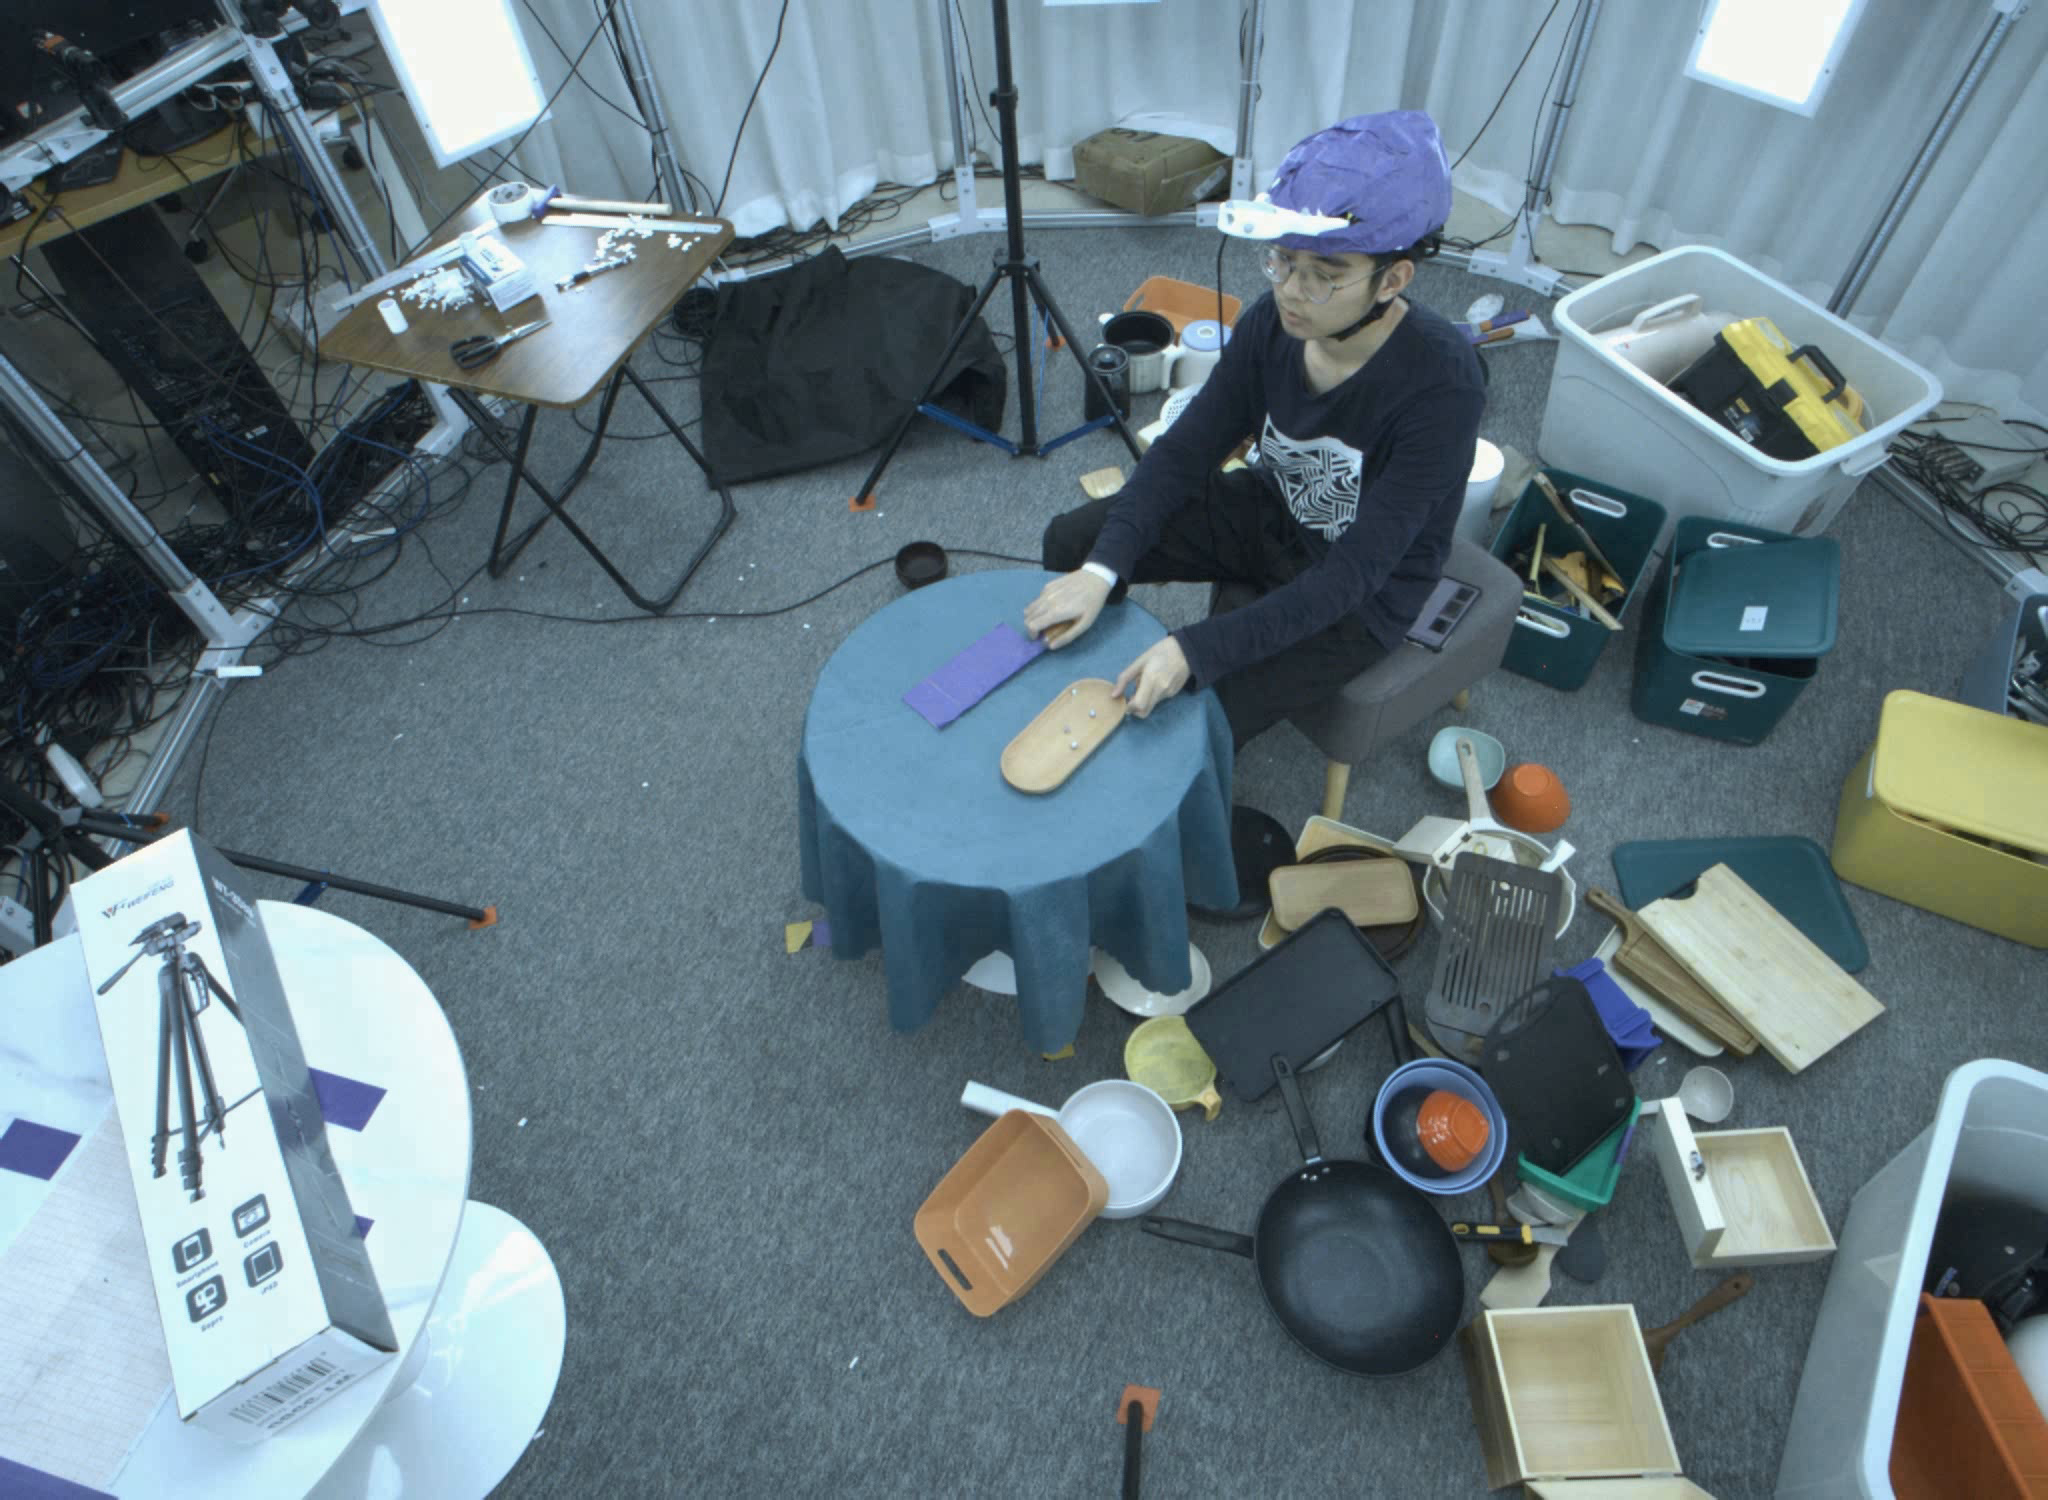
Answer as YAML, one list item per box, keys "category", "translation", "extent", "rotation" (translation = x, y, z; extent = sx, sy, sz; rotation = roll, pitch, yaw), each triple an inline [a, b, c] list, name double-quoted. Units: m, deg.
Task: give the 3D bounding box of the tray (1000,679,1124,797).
- category: "tray"
  translation: [0.057, -0.019, 1.798]
  extent: [0.100, 0.020, 0.232]
  rotation: [31, 63, 23]

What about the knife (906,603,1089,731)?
- category: "knife"
  translation: [-0.042, -0.147, 1.885]
  extent: [0.317, 0.032, 0.102]
  rotation: [-38, 62, -23]
